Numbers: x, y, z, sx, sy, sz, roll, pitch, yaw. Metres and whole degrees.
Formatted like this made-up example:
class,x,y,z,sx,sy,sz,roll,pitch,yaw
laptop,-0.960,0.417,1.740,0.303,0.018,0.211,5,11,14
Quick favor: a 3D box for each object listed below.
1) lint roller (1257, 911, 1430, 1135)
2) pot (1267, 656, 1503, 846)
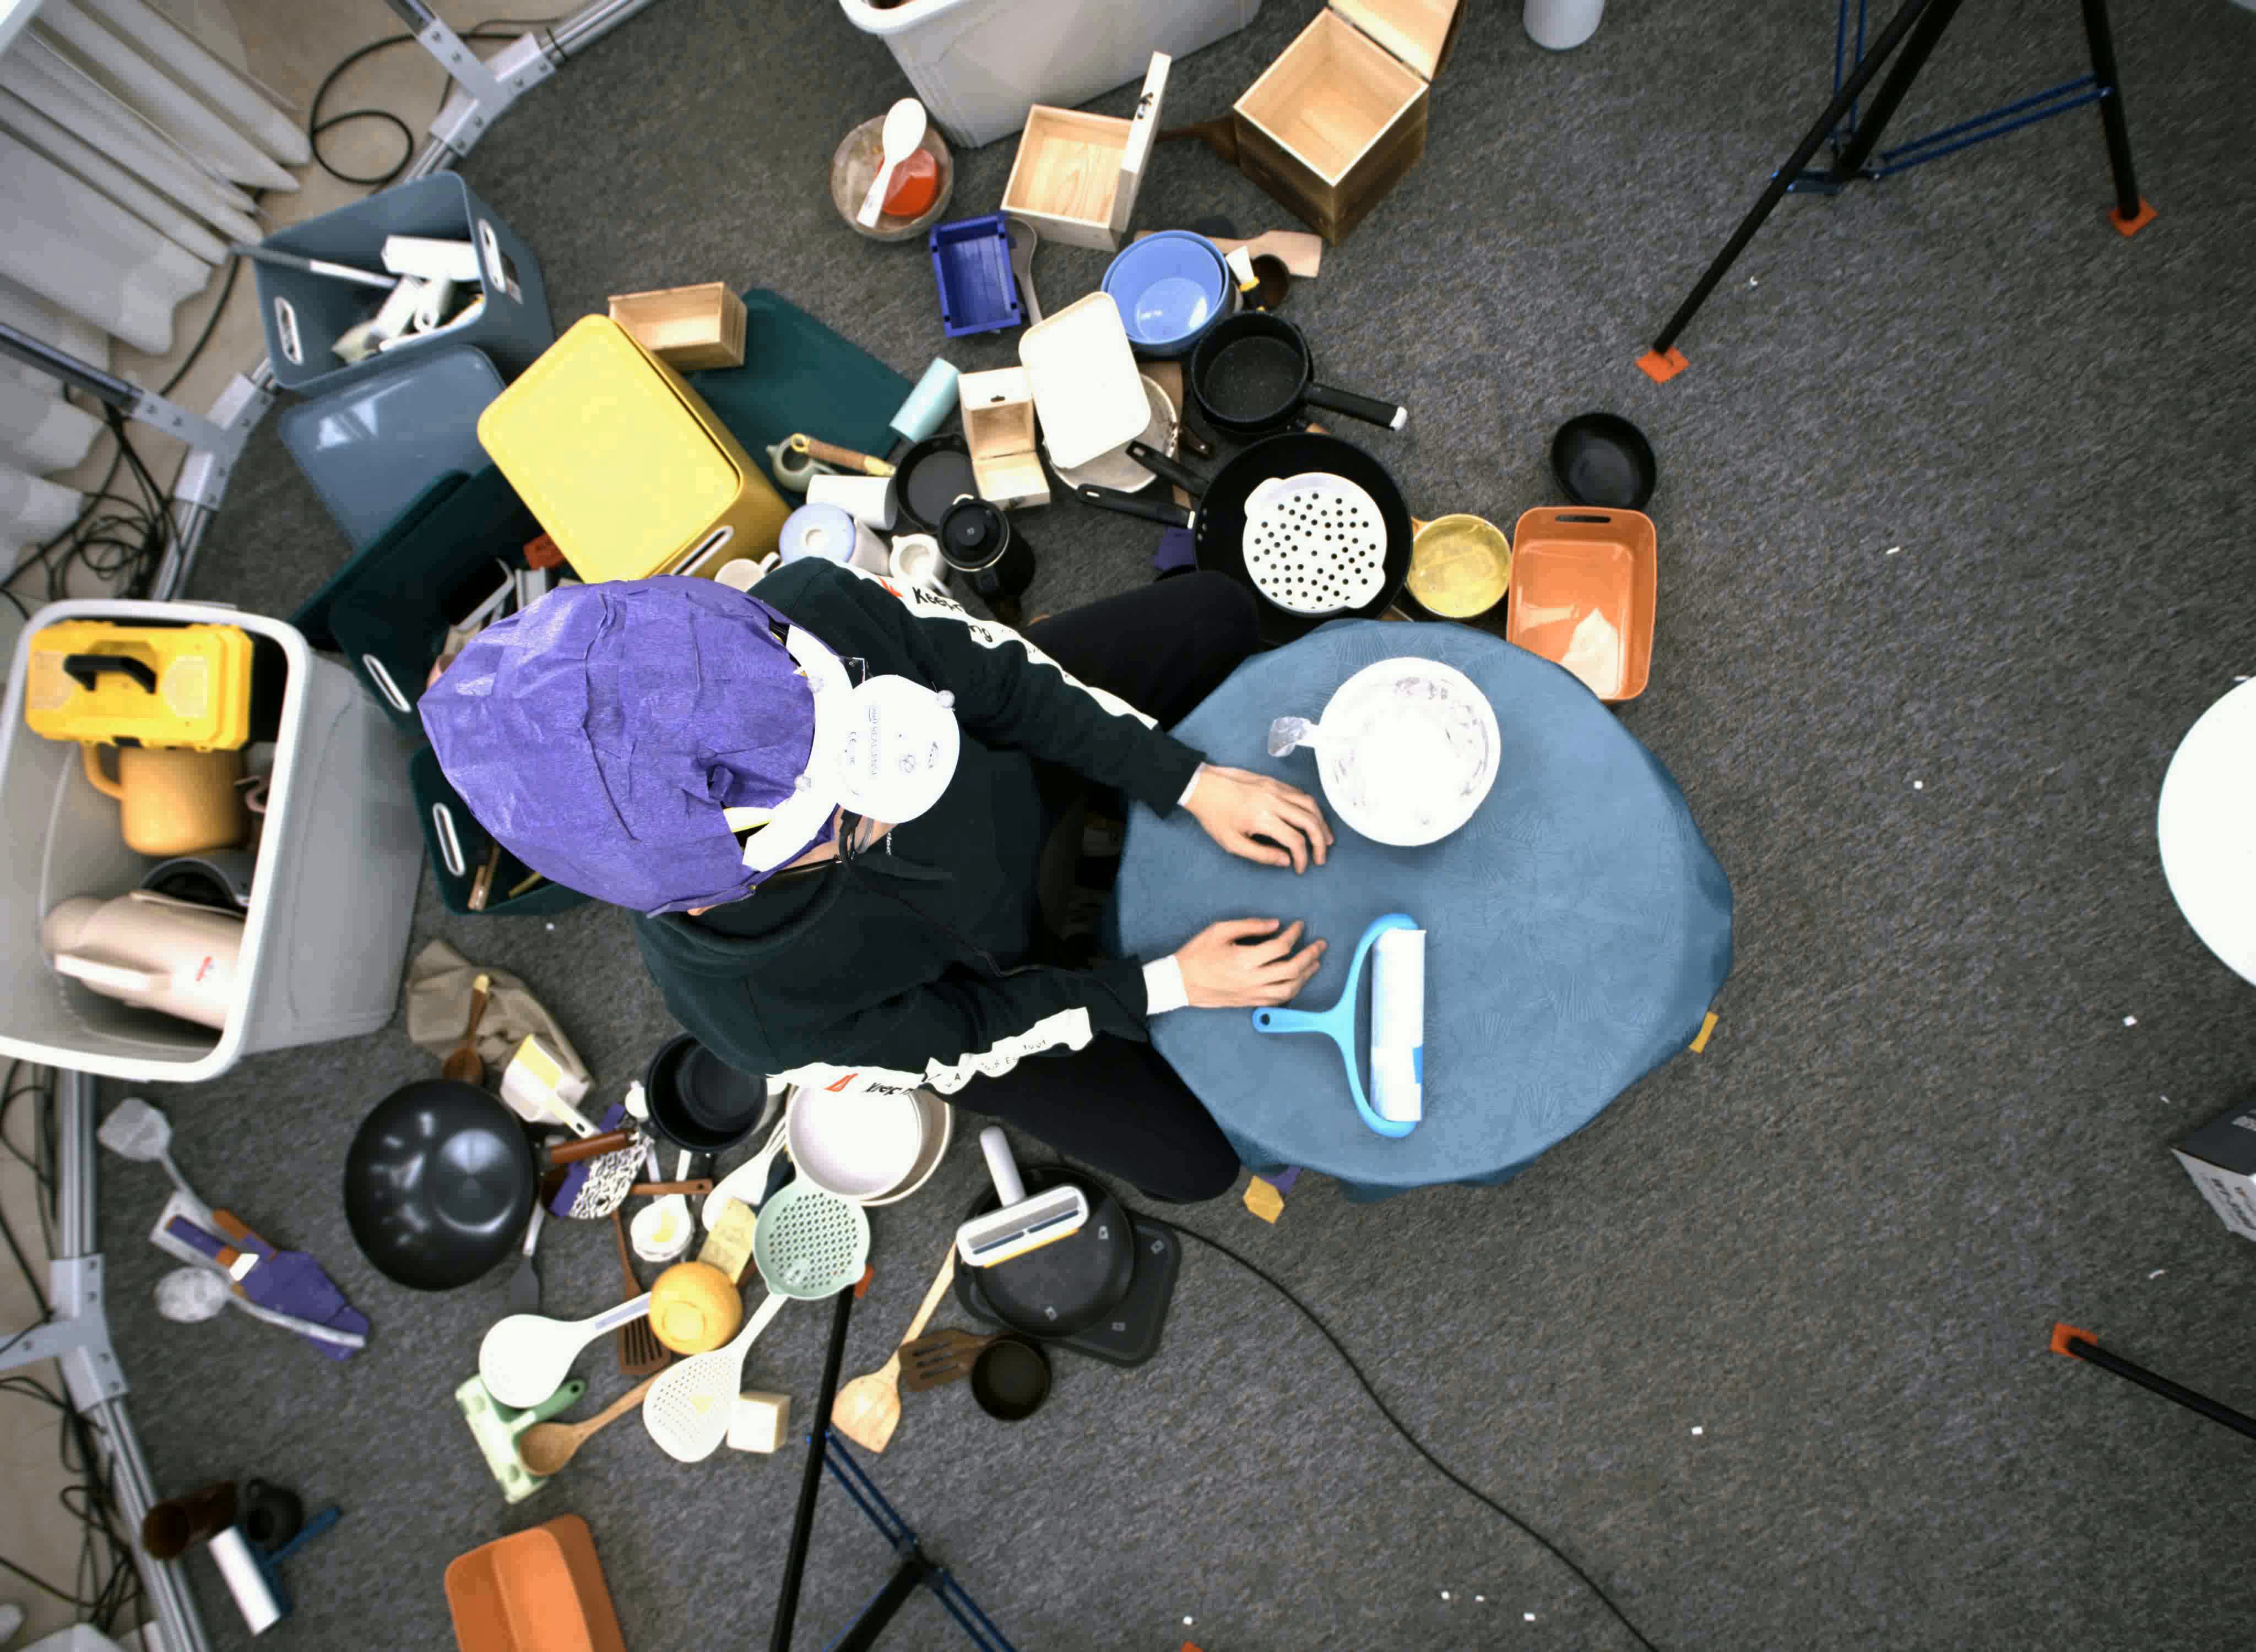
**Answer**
class,x,y,z,sx,sy,sz,roll,pitch,yaw
lint roller,0.222,0.204,1.429,0.181,0.068,0.228,-3,88,9
pot,0.255,-0.077,1.394,0.234,0.137,0.178,10,88,9
